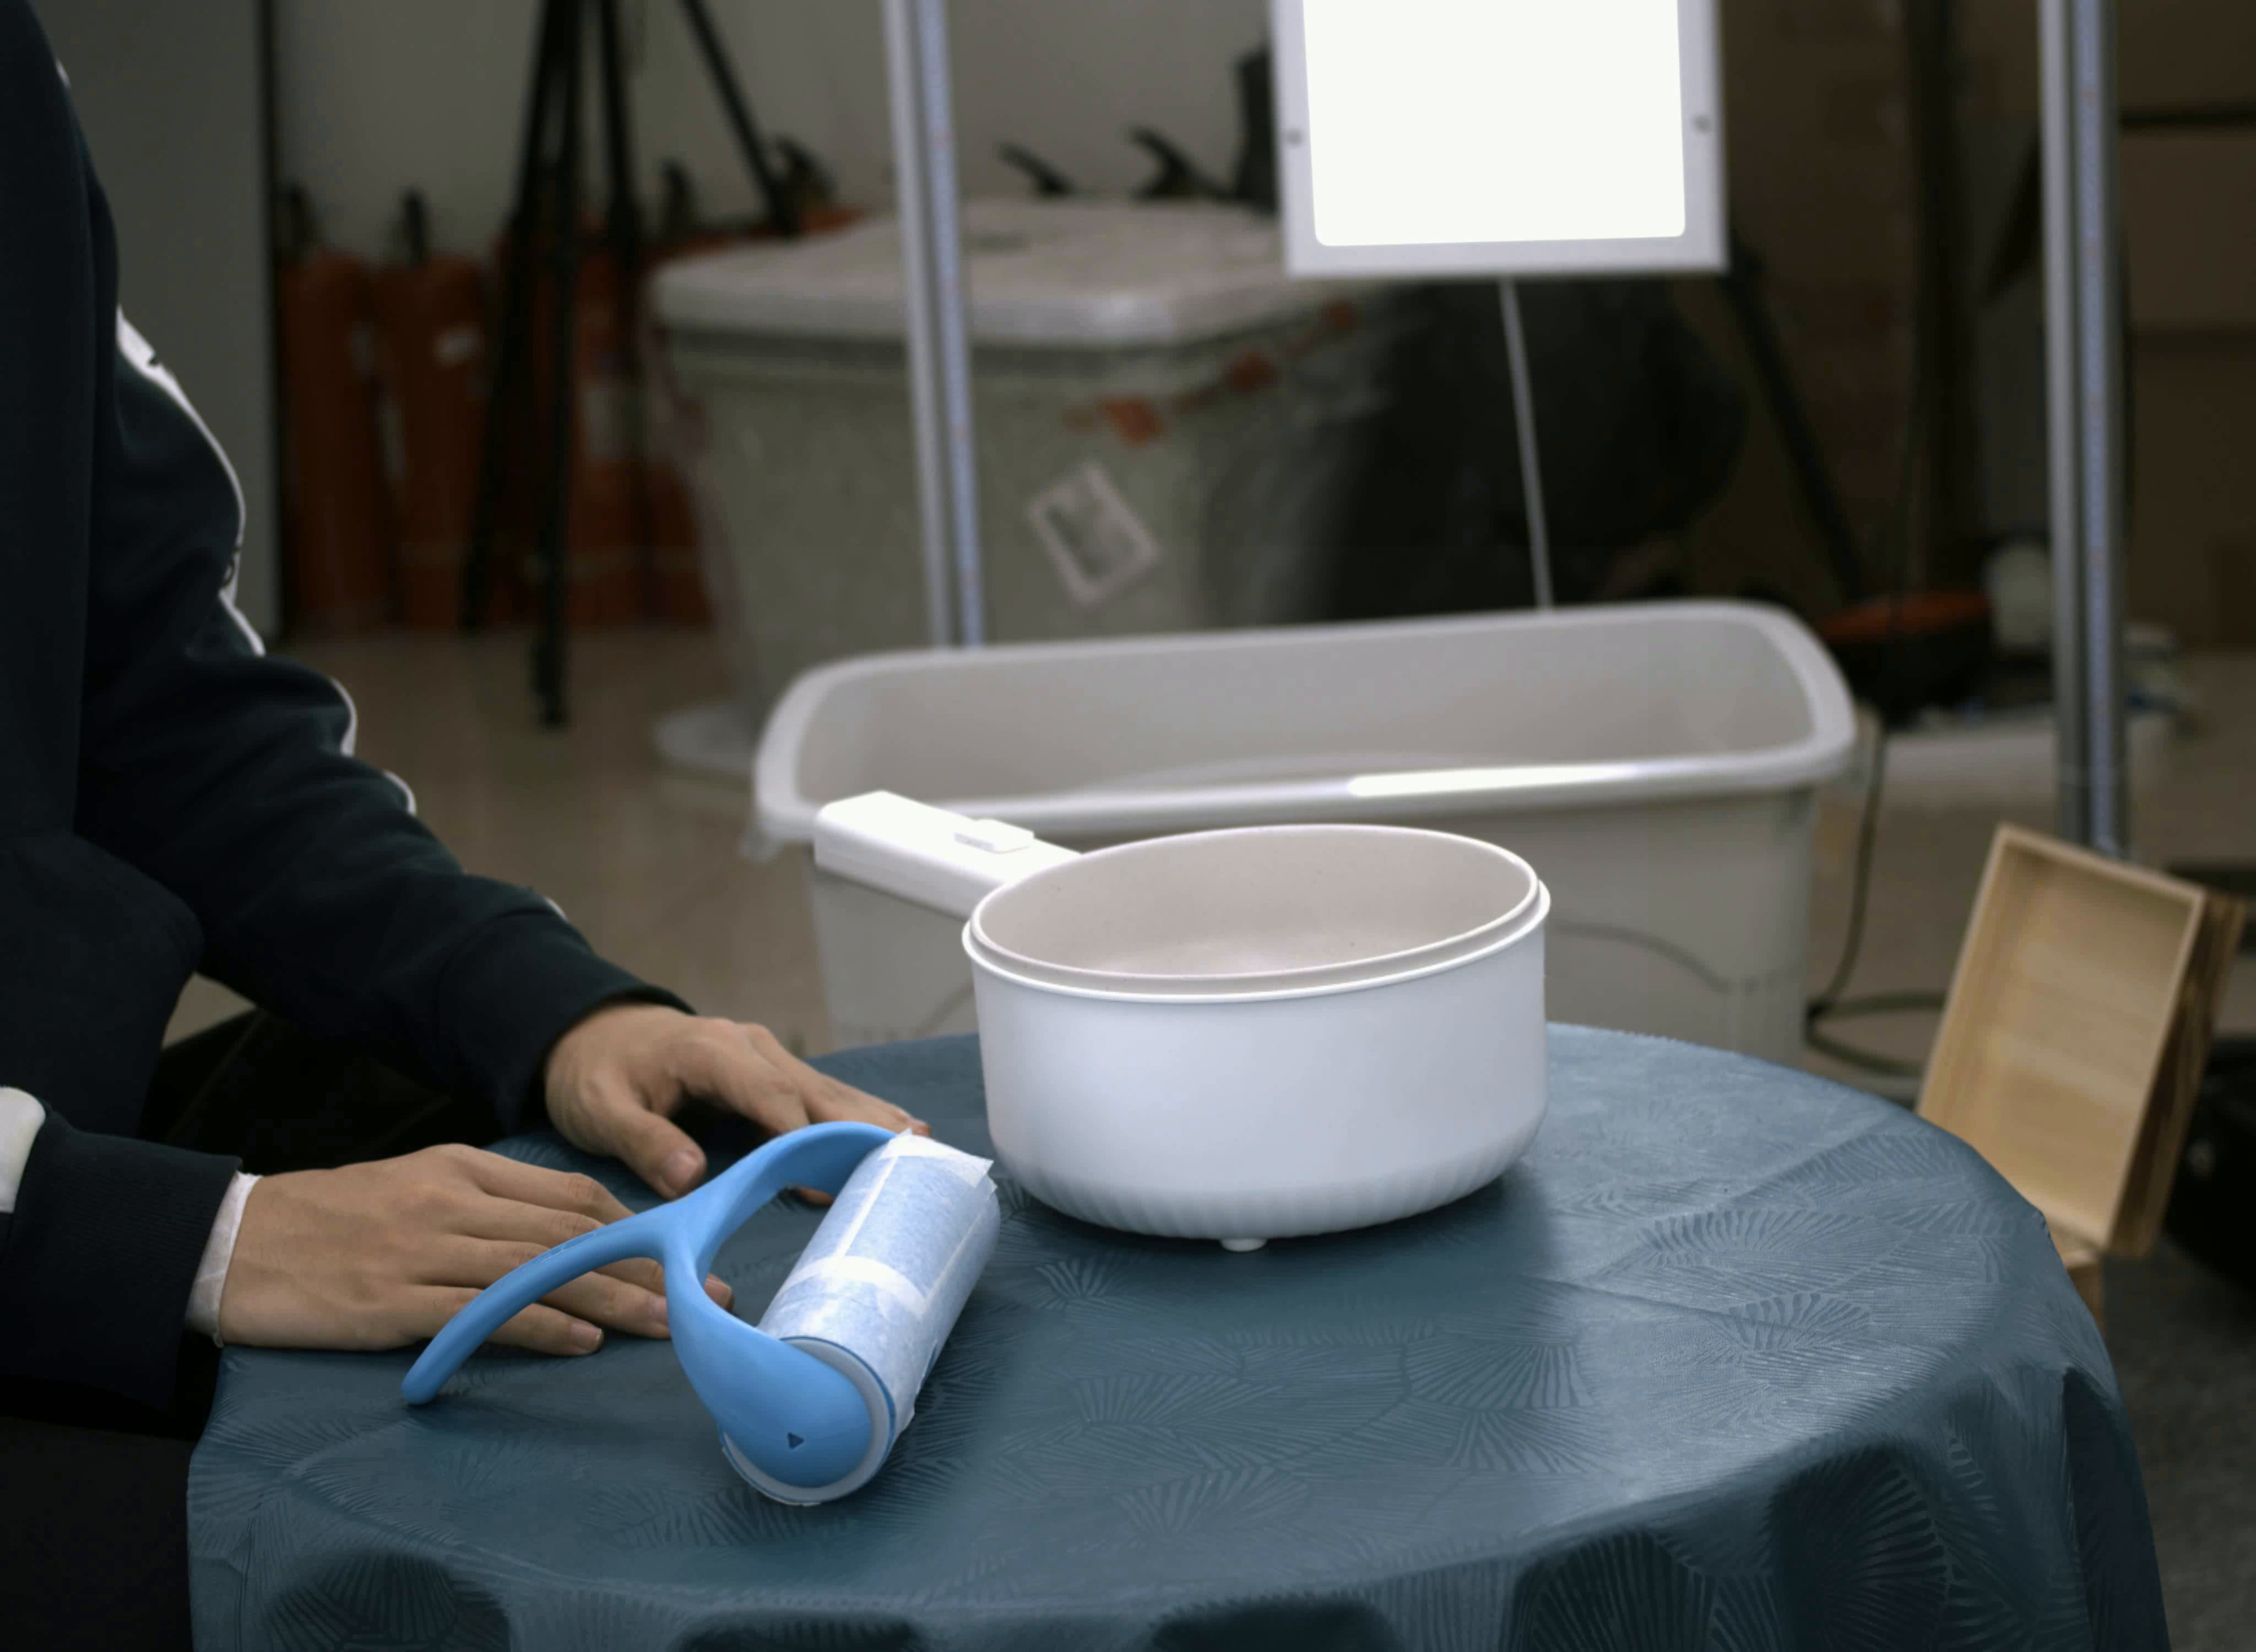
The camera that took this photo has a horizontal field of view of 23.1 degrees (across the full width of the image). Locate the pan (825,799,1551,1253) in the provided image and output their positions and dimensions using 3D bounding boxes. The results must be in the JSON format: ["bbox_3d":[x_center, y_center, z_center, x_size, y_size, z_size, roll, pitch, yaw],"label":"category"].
[{"bbox_3d":[0.003,0.063,1.947,0.196,0.102,0.362,-15,16,-32],"label":"pan"}]

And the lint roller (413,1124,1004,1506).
[{"bbox_3d":[-0.138,0.152,1.721,0.181,0.068,0.227,-3,16,7],"label":"lint roller"}]
